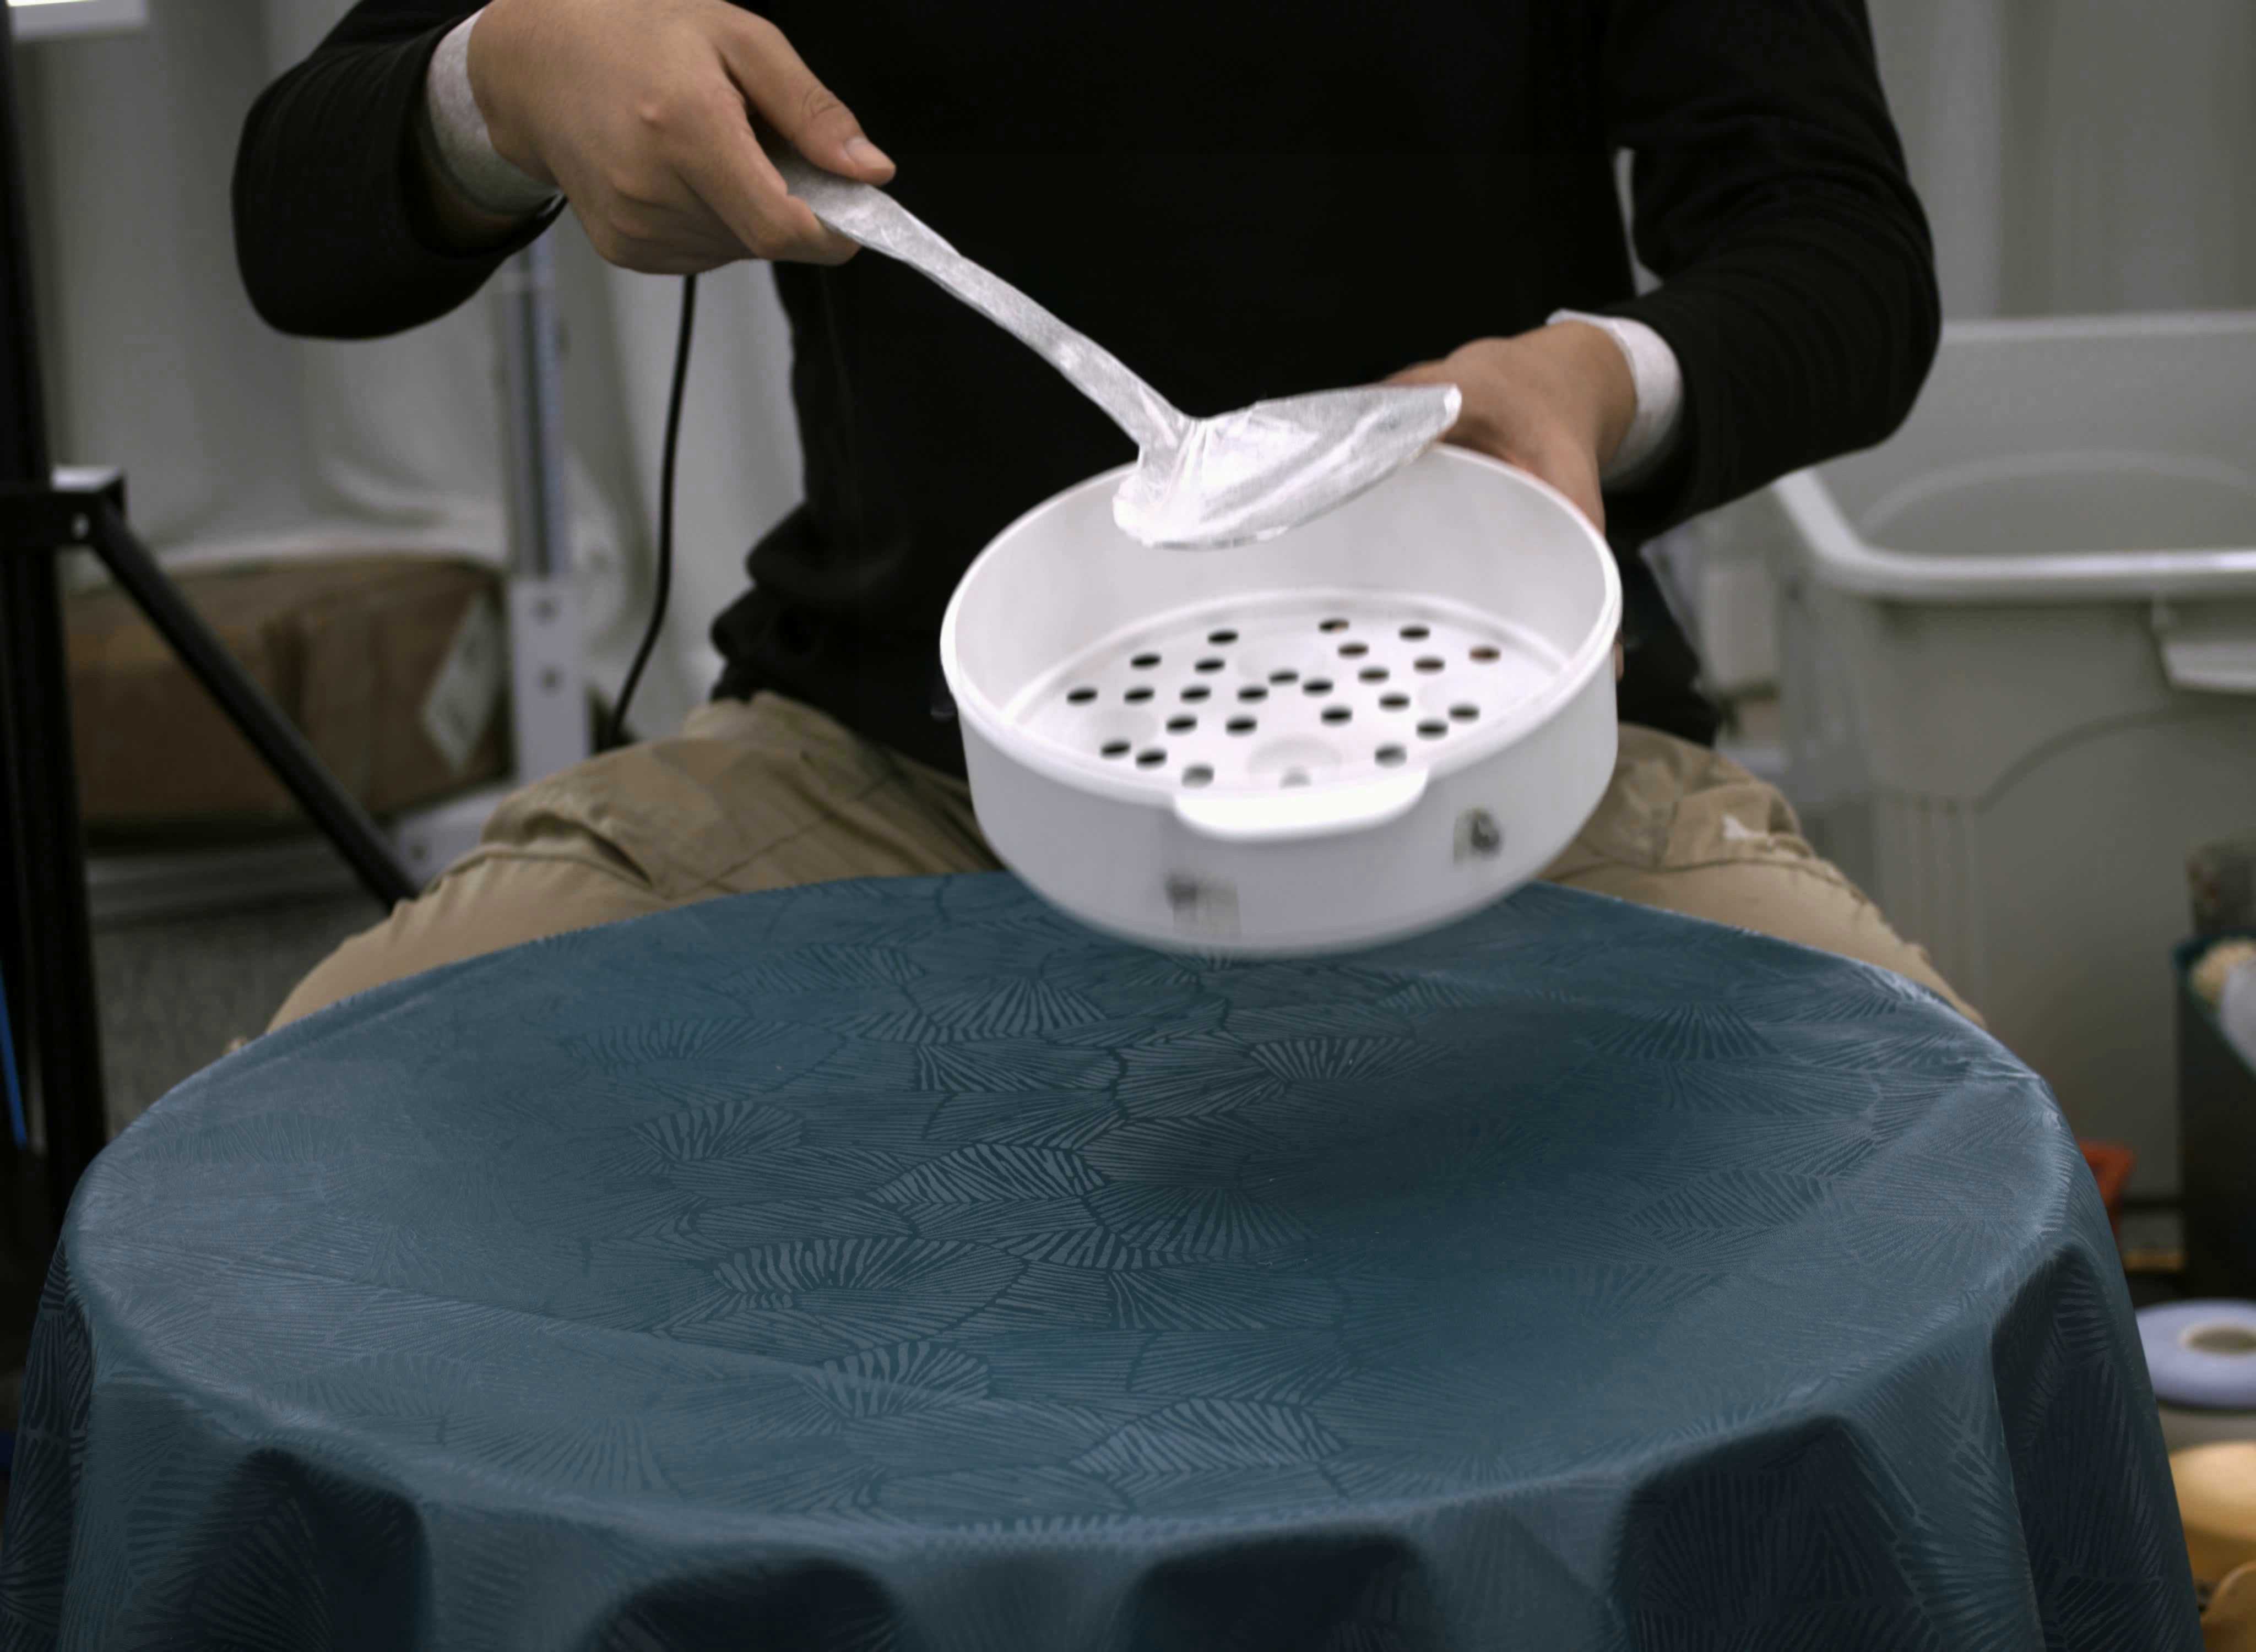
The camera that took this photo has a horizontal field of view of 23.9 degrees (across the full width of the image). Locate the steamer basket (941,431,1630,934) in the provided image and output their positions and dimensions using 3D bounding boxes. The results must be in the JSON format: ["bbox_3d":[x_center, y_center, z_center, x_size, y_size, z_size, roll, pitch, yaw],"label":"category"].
[{"bbox_3d":[0.047,-0.043,1.563,0.201,0.069,0.232,-5,31,2],"label":"steamer basket"}]

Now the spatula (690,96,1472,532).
[{"bbox_3d":[-0.038,-0.166,1.613,0.097,0.044,0.373,-34,44,-21],"label":"spatula"}]
